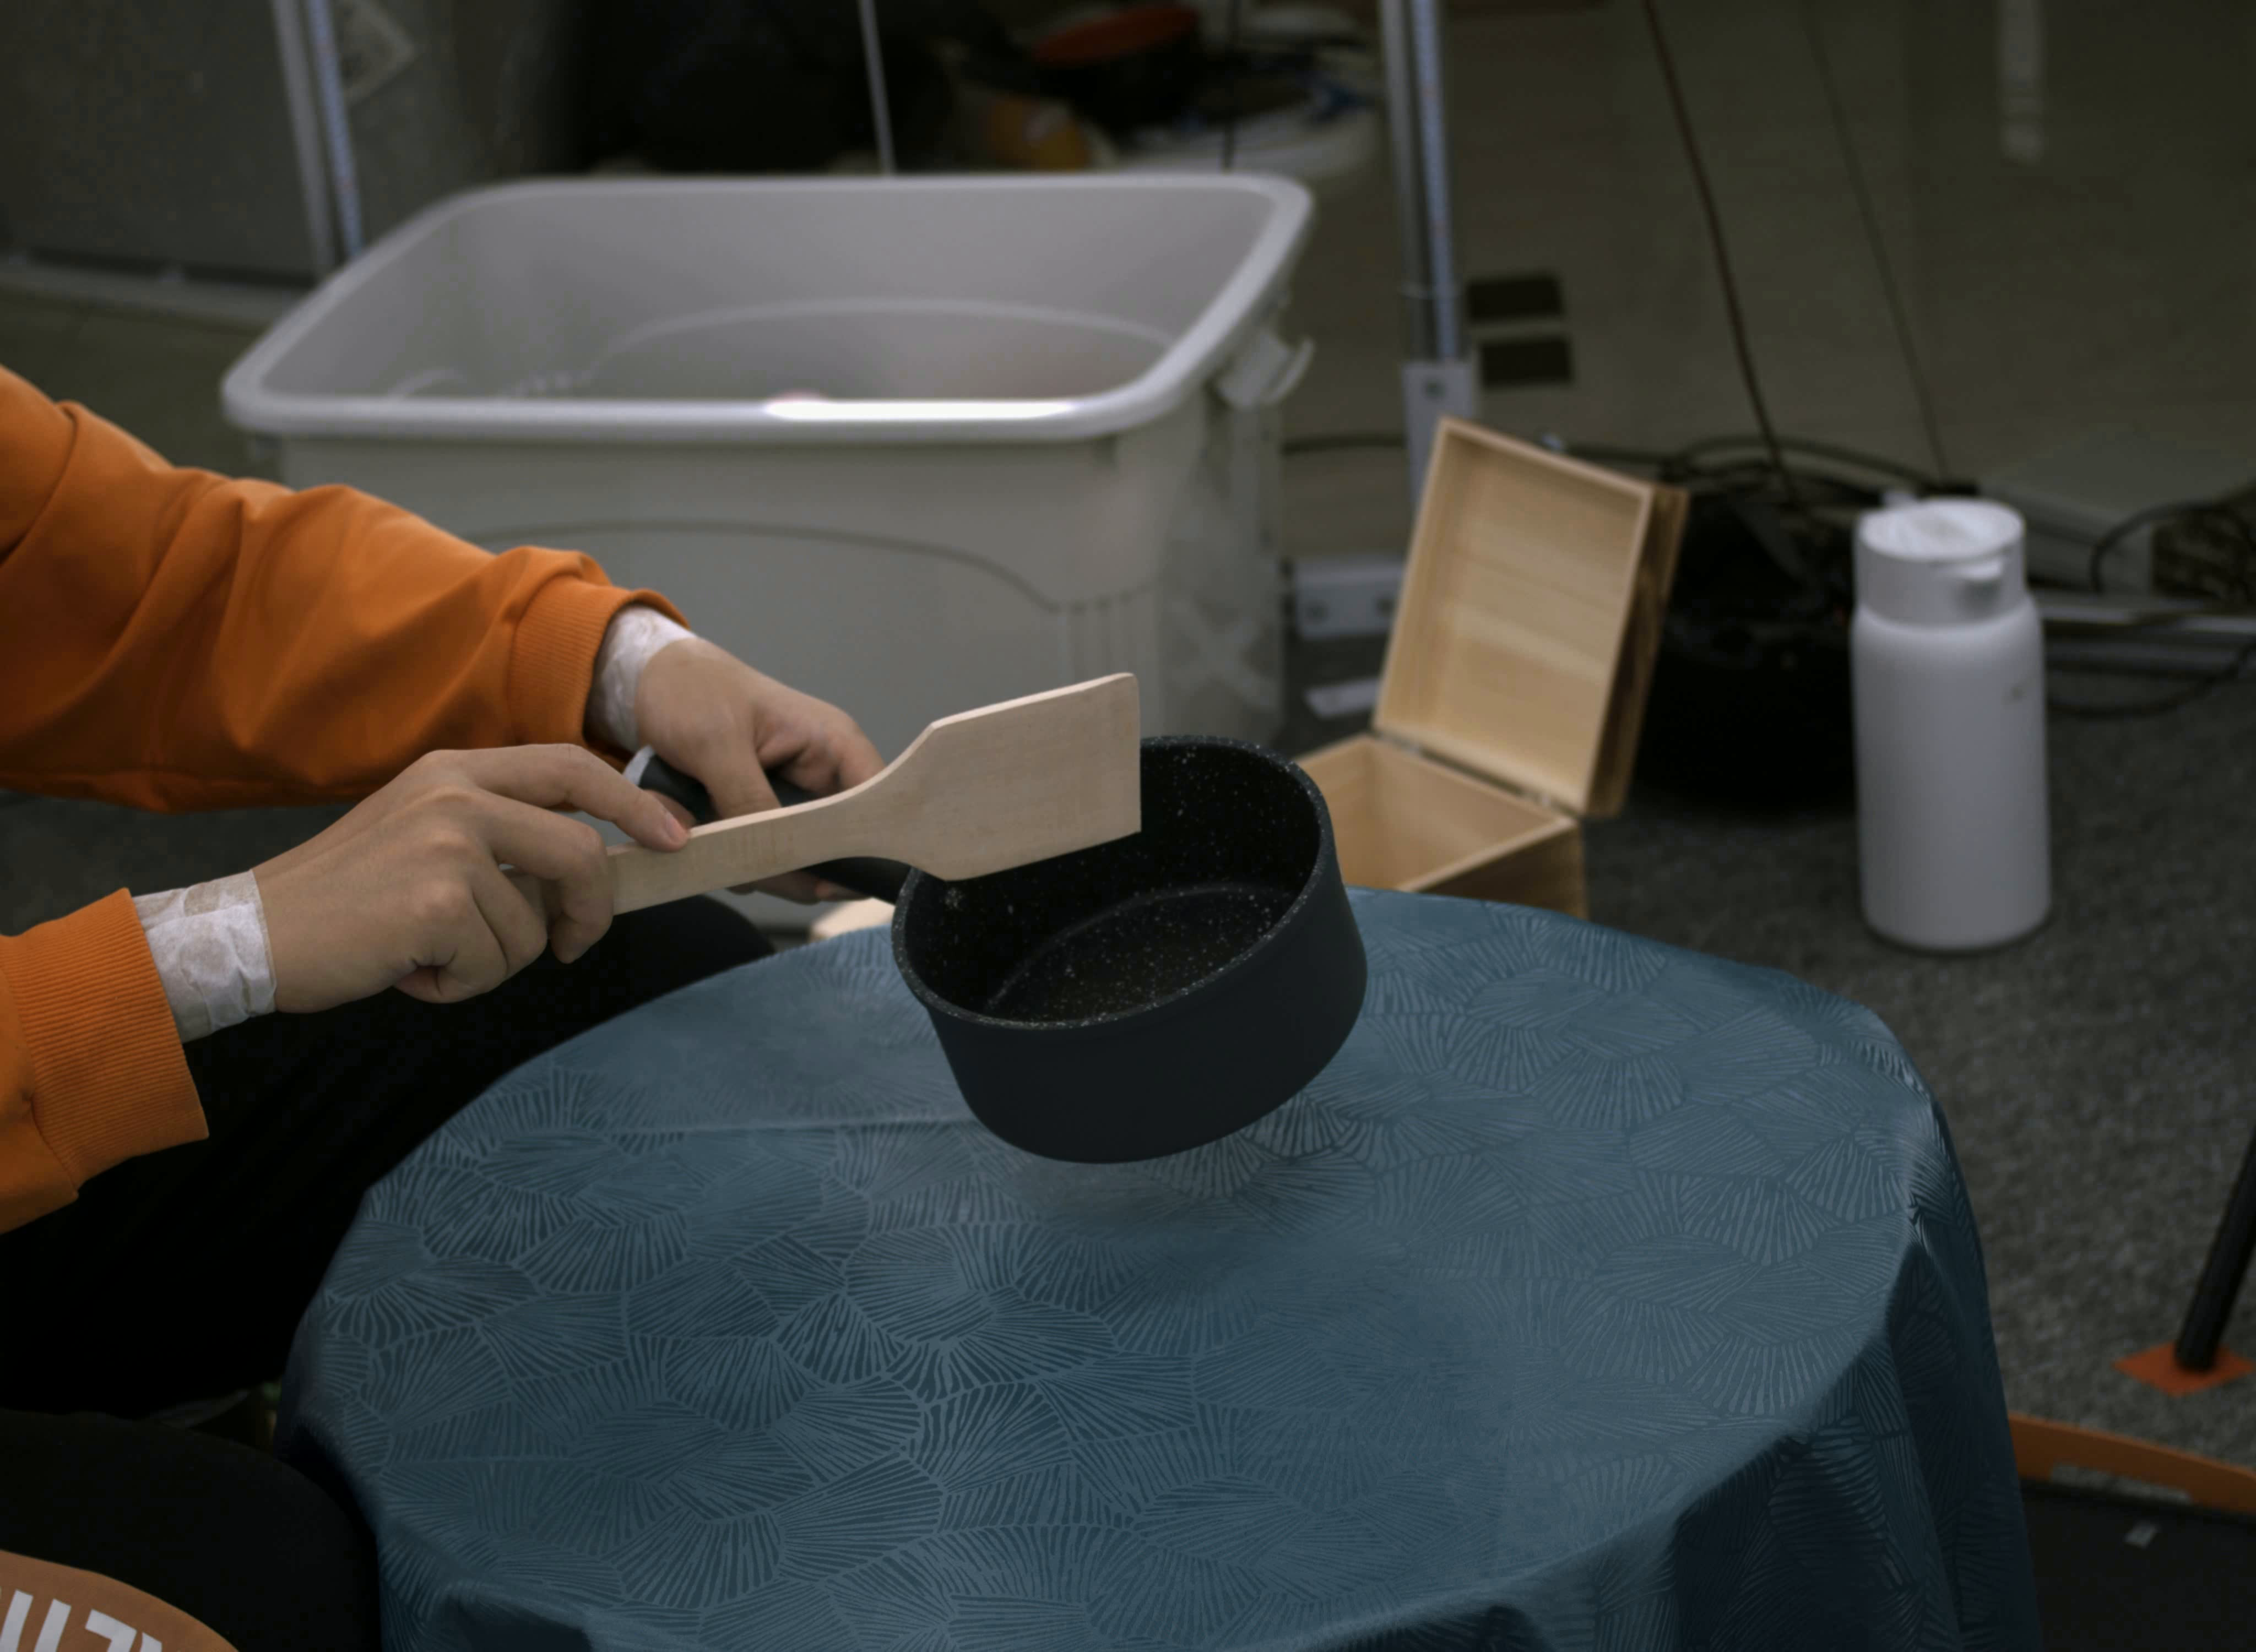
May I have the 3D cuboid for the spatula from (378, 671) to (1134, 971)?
[{"bbox_3d":[-0.130,0.005,2.041,0.292,0.073,0.010,-15,39,-19],"label":"spatula"}]

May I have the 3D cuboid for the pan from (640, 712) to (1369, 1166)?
[{"bbox_3d":[-0.057,0.029,2.179,0.326,0.088,0.170,16,49,38],"label":"pan"}]
